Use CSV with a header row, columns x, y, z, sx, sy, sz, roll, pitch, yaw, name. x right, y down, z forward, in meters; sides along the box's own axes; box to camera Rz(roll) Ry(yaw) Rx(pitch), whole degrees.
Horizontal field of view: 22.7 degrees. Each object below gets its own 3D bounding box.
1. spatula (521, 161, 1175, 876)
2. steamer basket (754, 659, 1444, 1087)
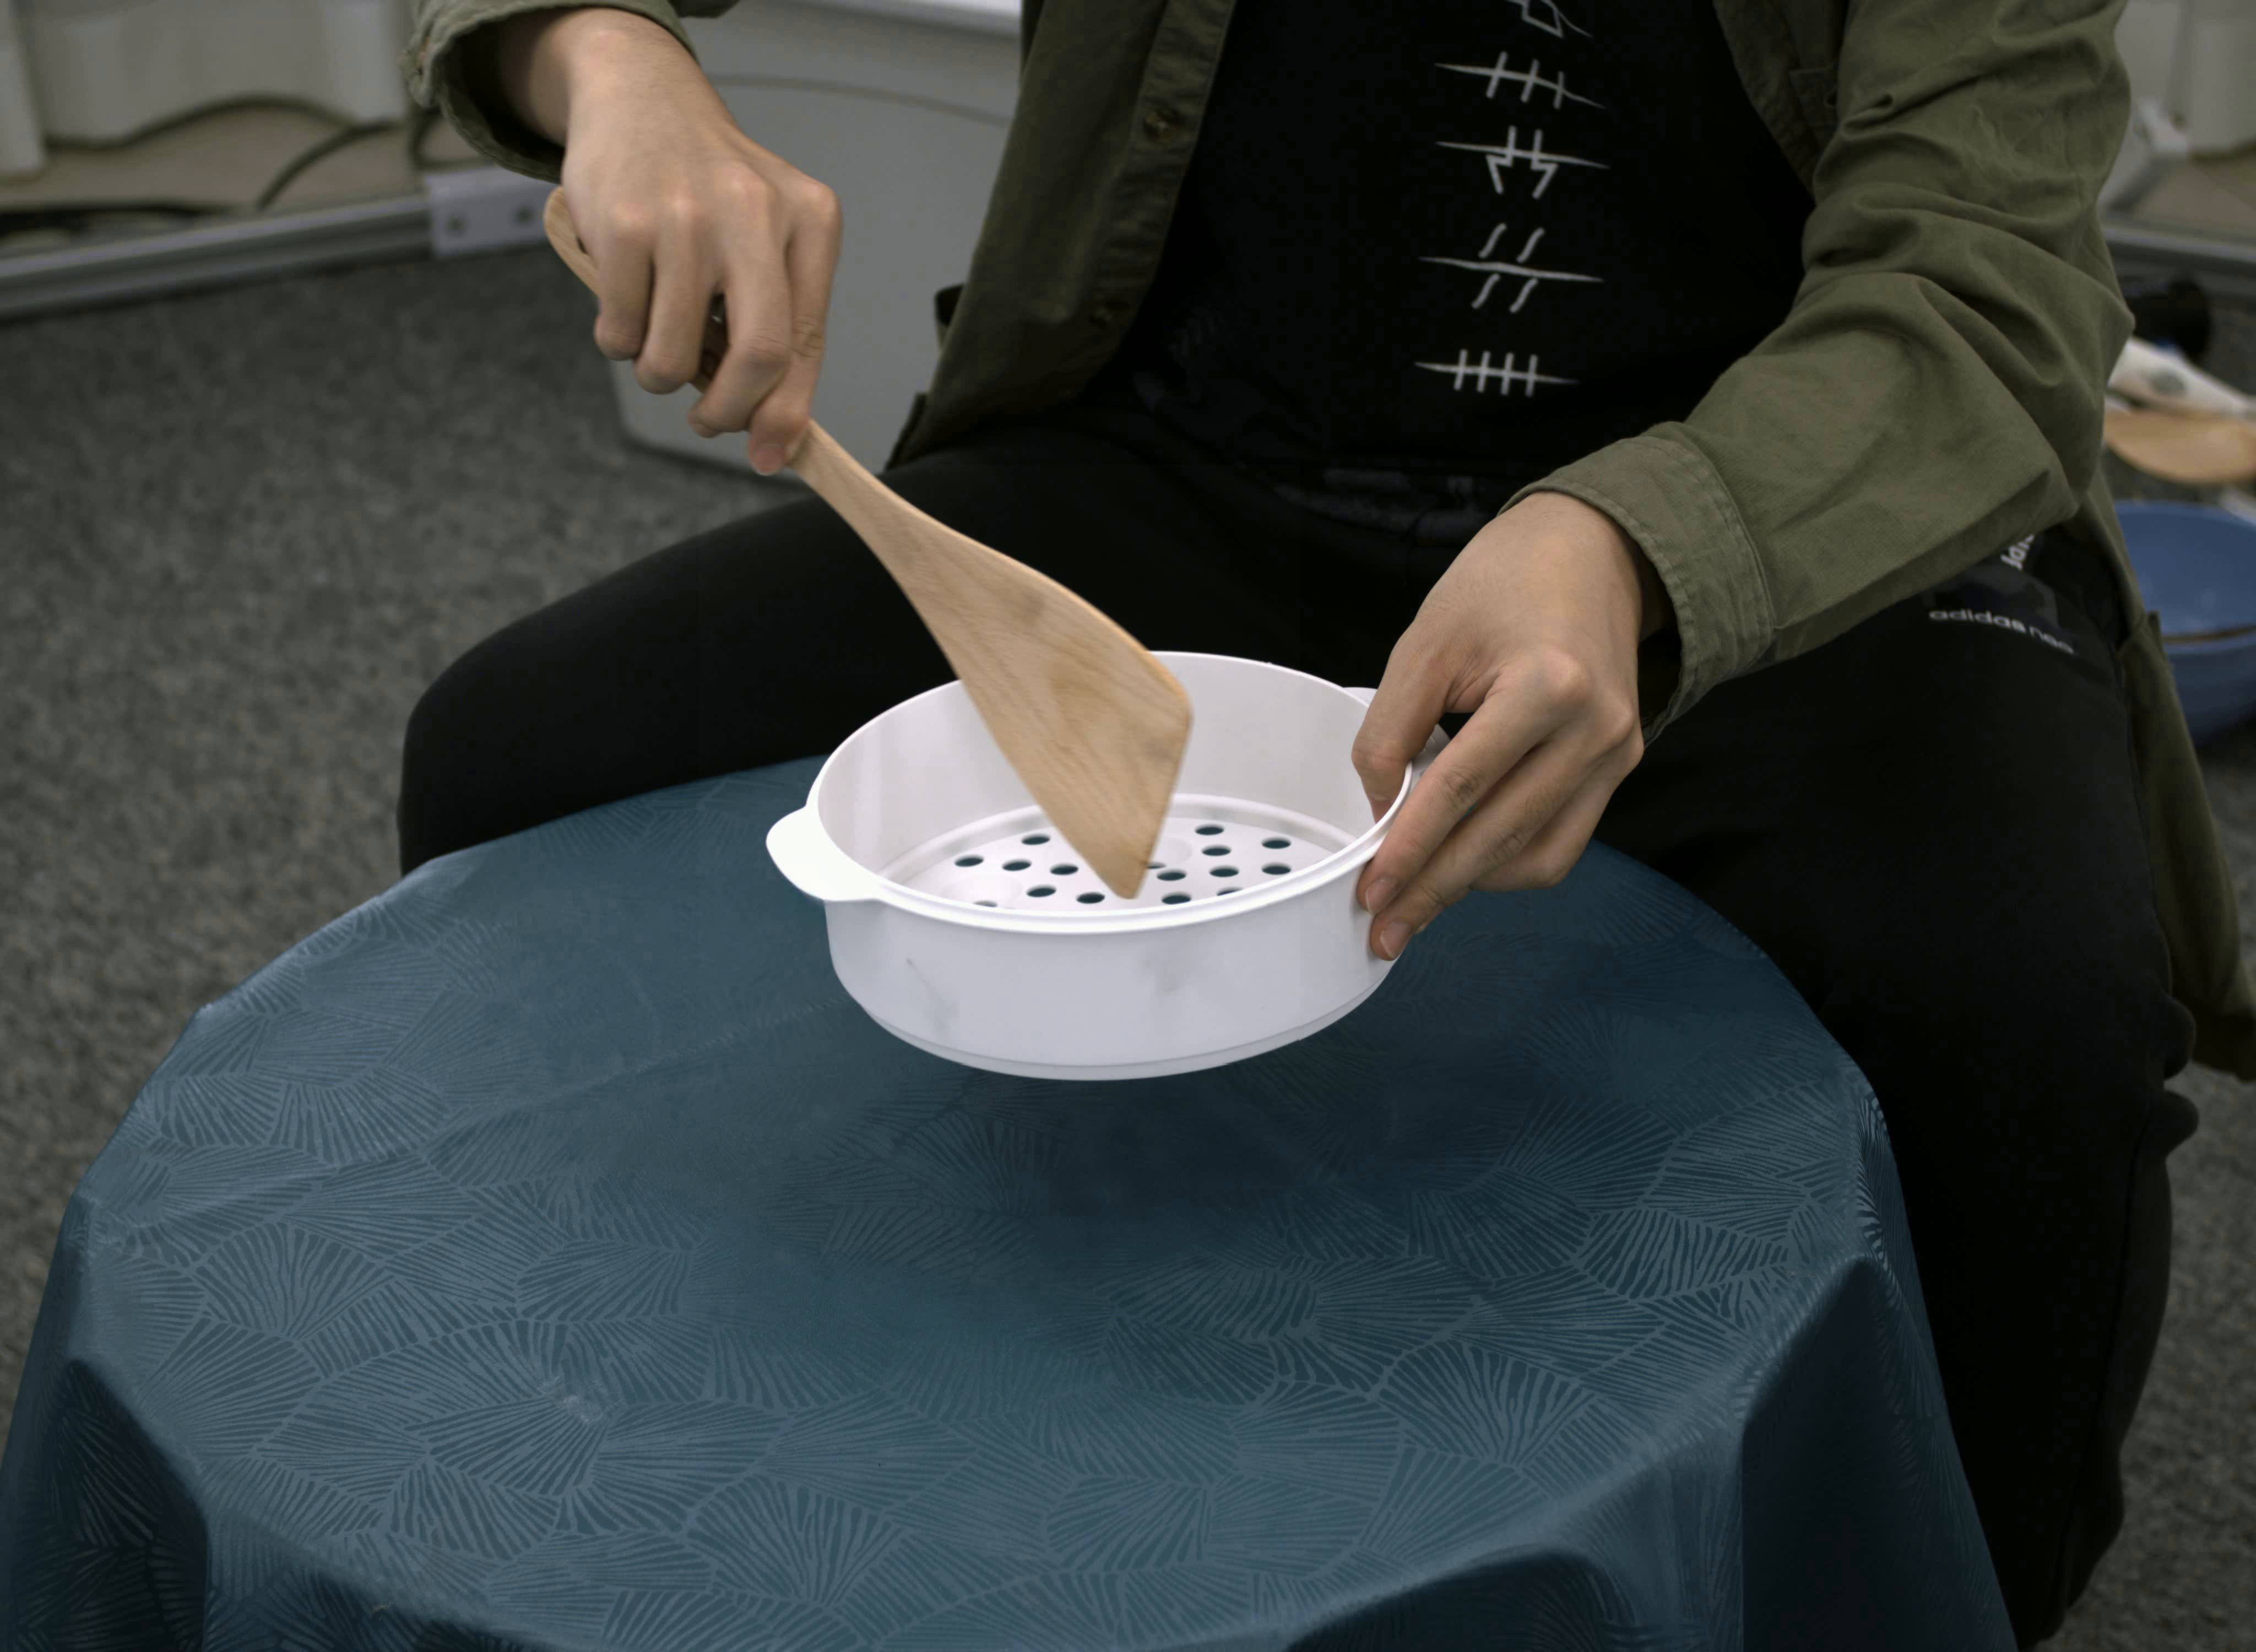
x,y,z,sx,sy,sz,roll,pitch,yaw,name
-0.097,-0.115,1.859,0.329,0.078,0.017,44,38,22,spatula
-0.008,0.016,1.844,0.231,0.068,0.203,-11,27,-18,steamer basket
